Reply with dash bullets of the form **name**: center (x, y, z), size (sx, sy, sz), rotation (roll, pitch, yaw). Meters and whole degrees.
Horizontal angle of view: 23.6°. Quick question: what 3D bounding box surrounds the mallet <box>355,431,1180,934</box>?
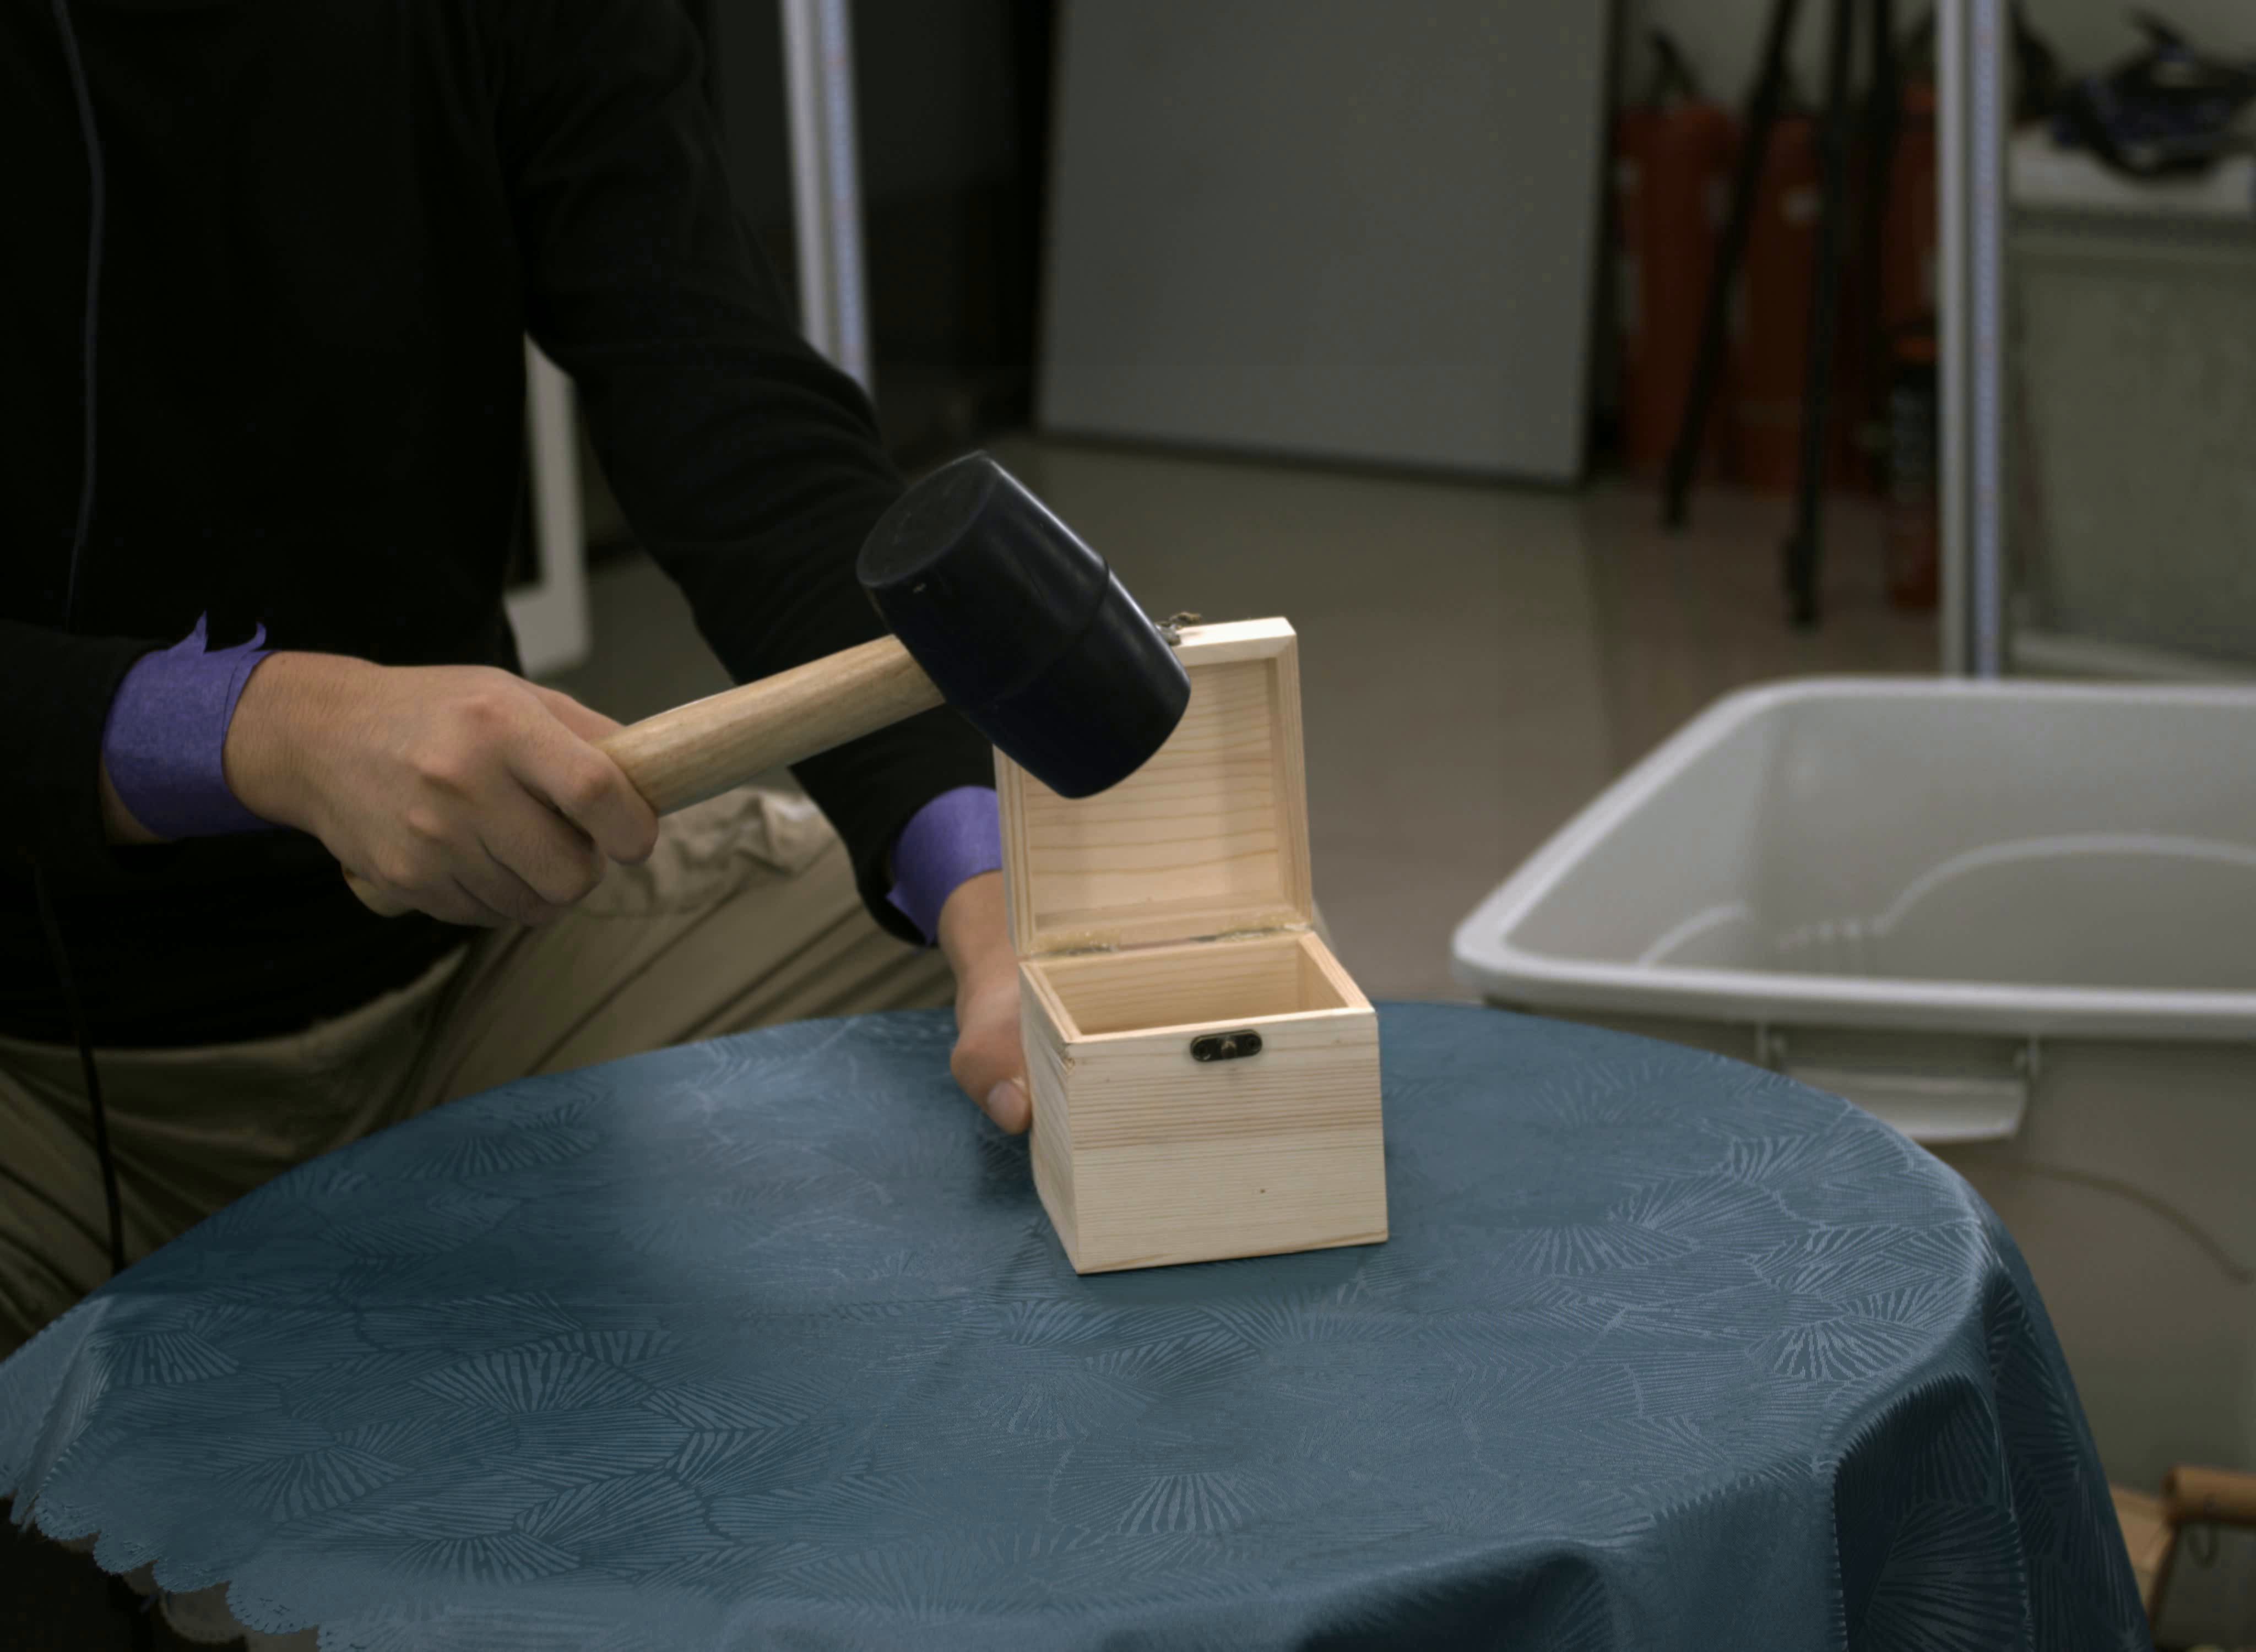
- **mallet**: center (-0.128, -0.031, 1.717), size (0.342, 0.101, 0.064), rotation (-20, 28, 44)

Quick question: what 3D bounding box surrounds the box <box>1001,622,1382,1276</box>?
- **box**: center (0.019, 0.036, 1.736), size (0.101, 0.186, 0.134), rotation (-5, 10, -7)
